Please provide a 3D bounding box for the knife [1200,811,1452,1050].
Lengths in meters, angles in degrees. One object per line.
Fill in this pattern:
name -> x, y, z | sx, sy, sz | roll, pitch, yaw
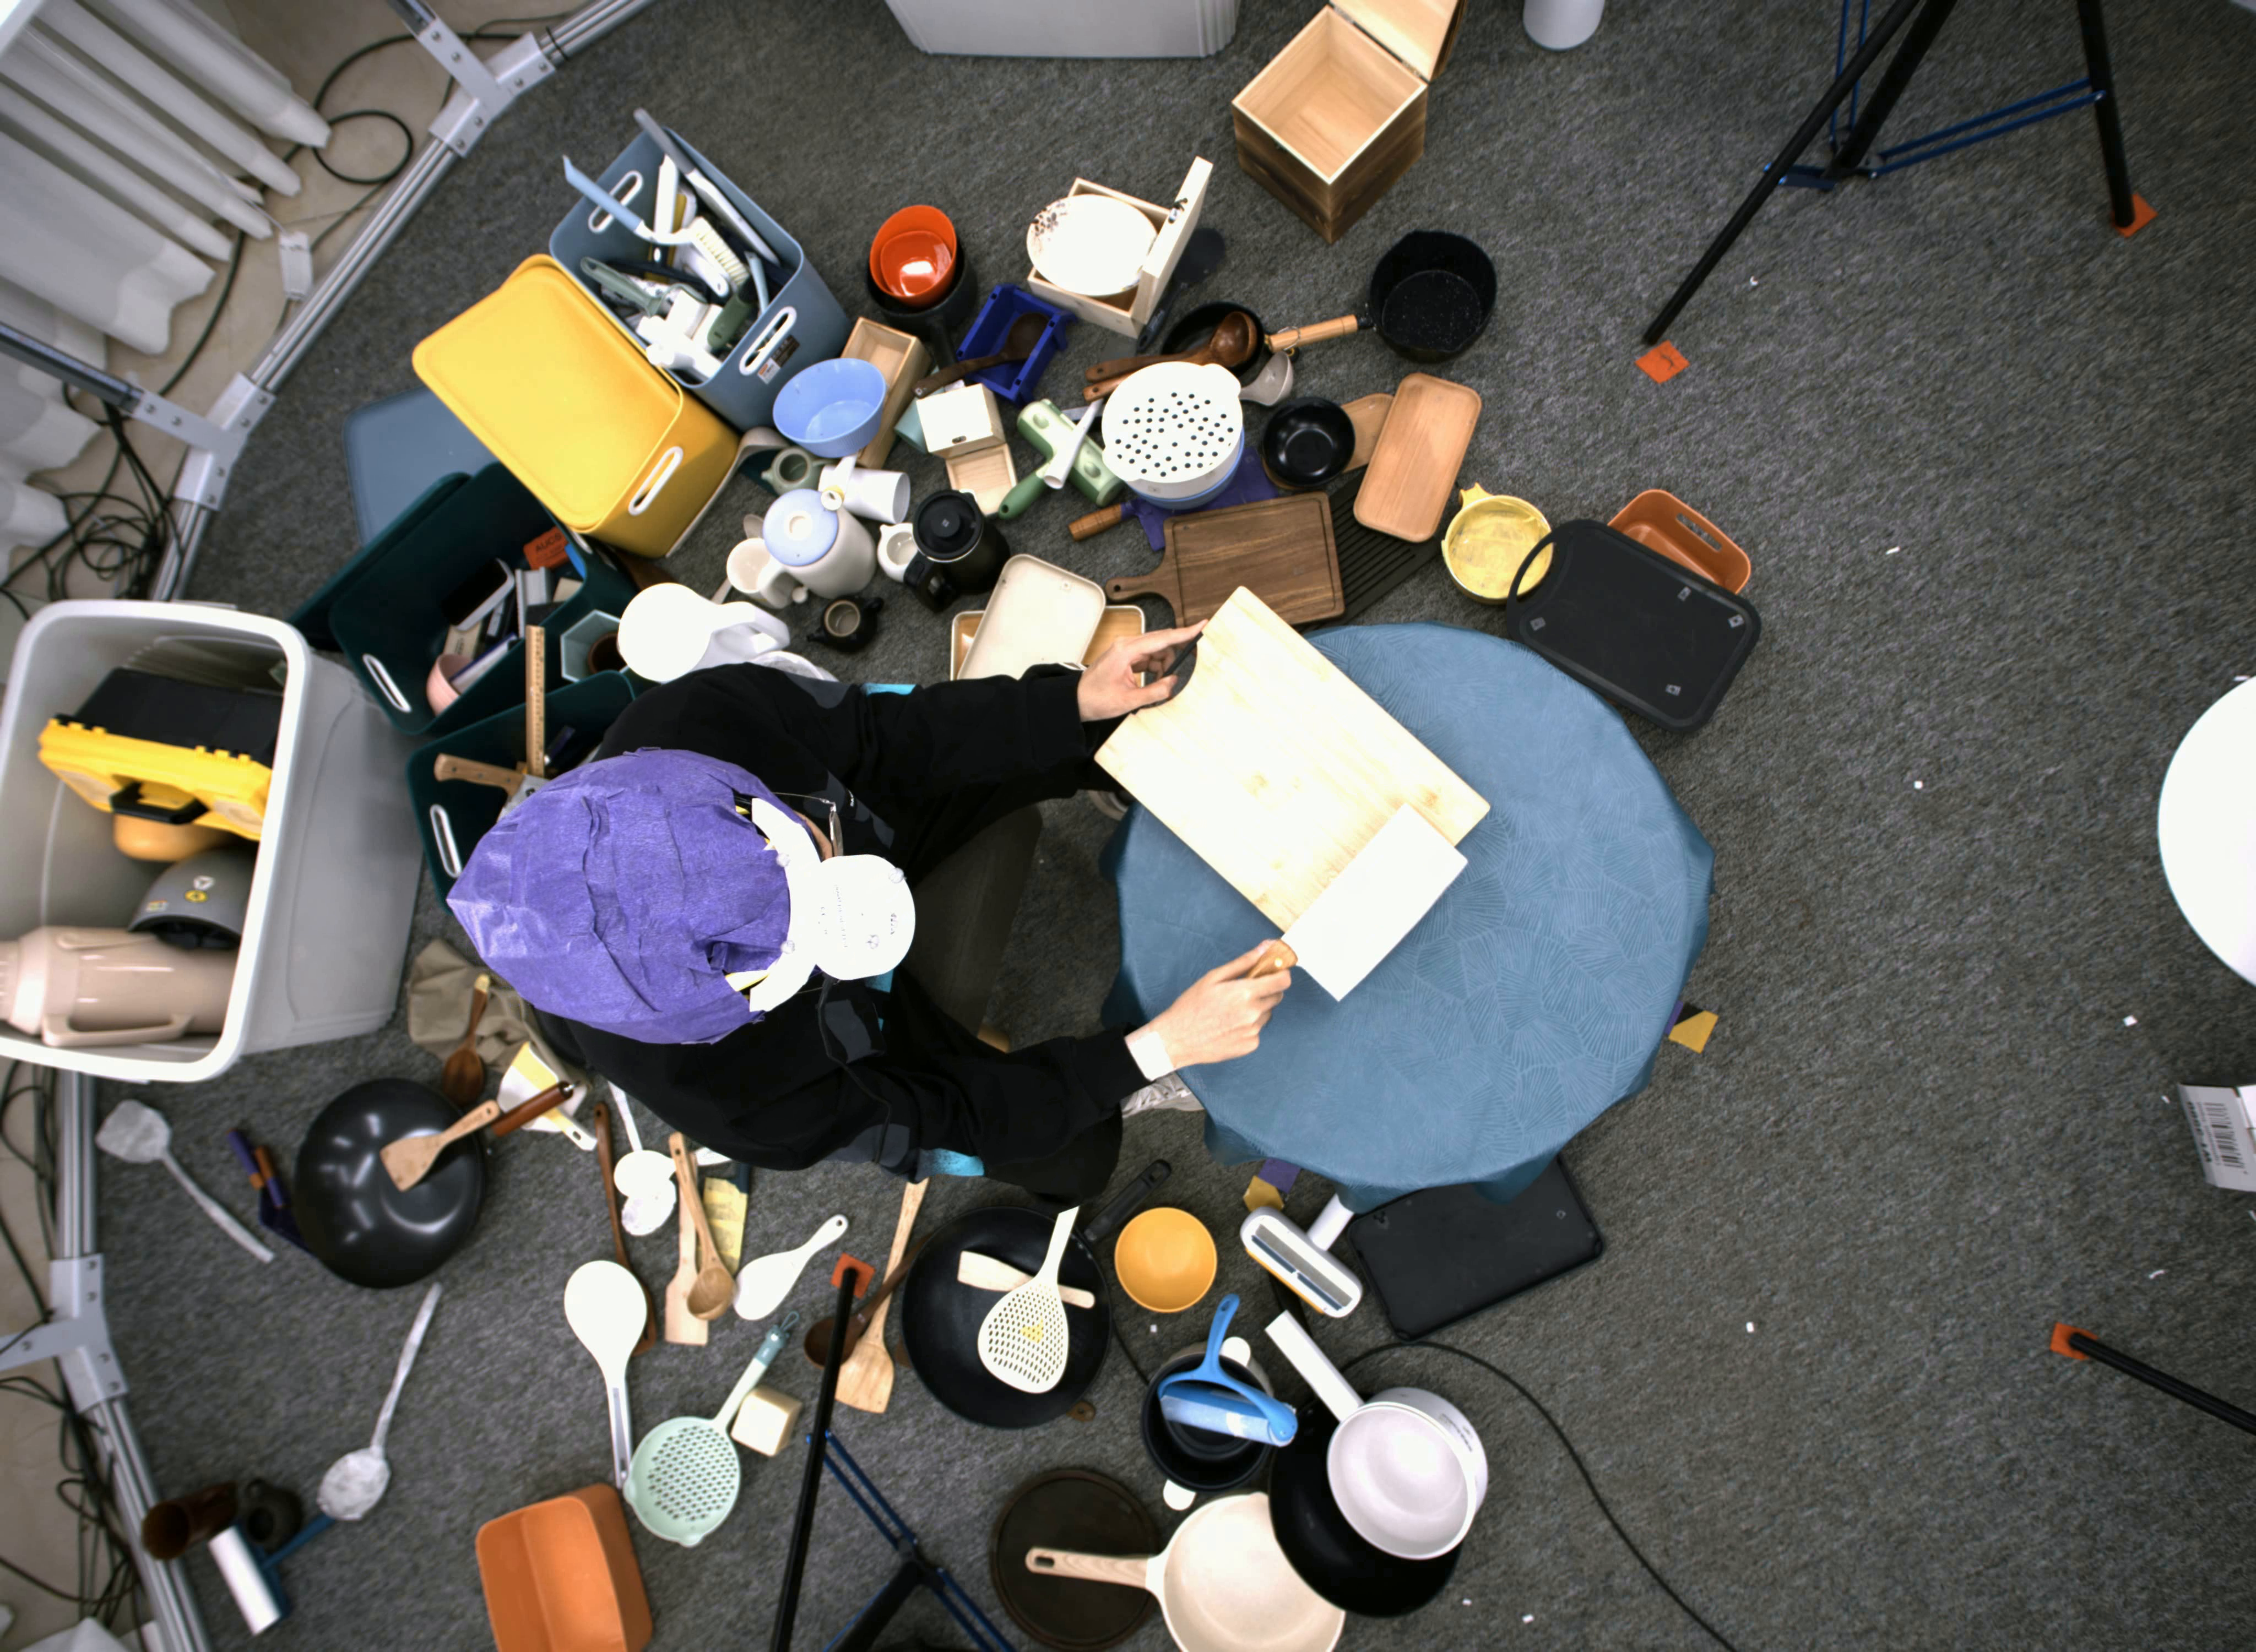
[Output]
knife -> 0.202, 0.120, 1.374 | 0.093, 0.021, 0.307 | 41, 98, -11

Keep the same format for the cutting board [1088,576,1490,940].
cutting board -> 0.162, -0.052, 1.429 | 0.348, 0.023, 0.254 | 41, 106, 2
